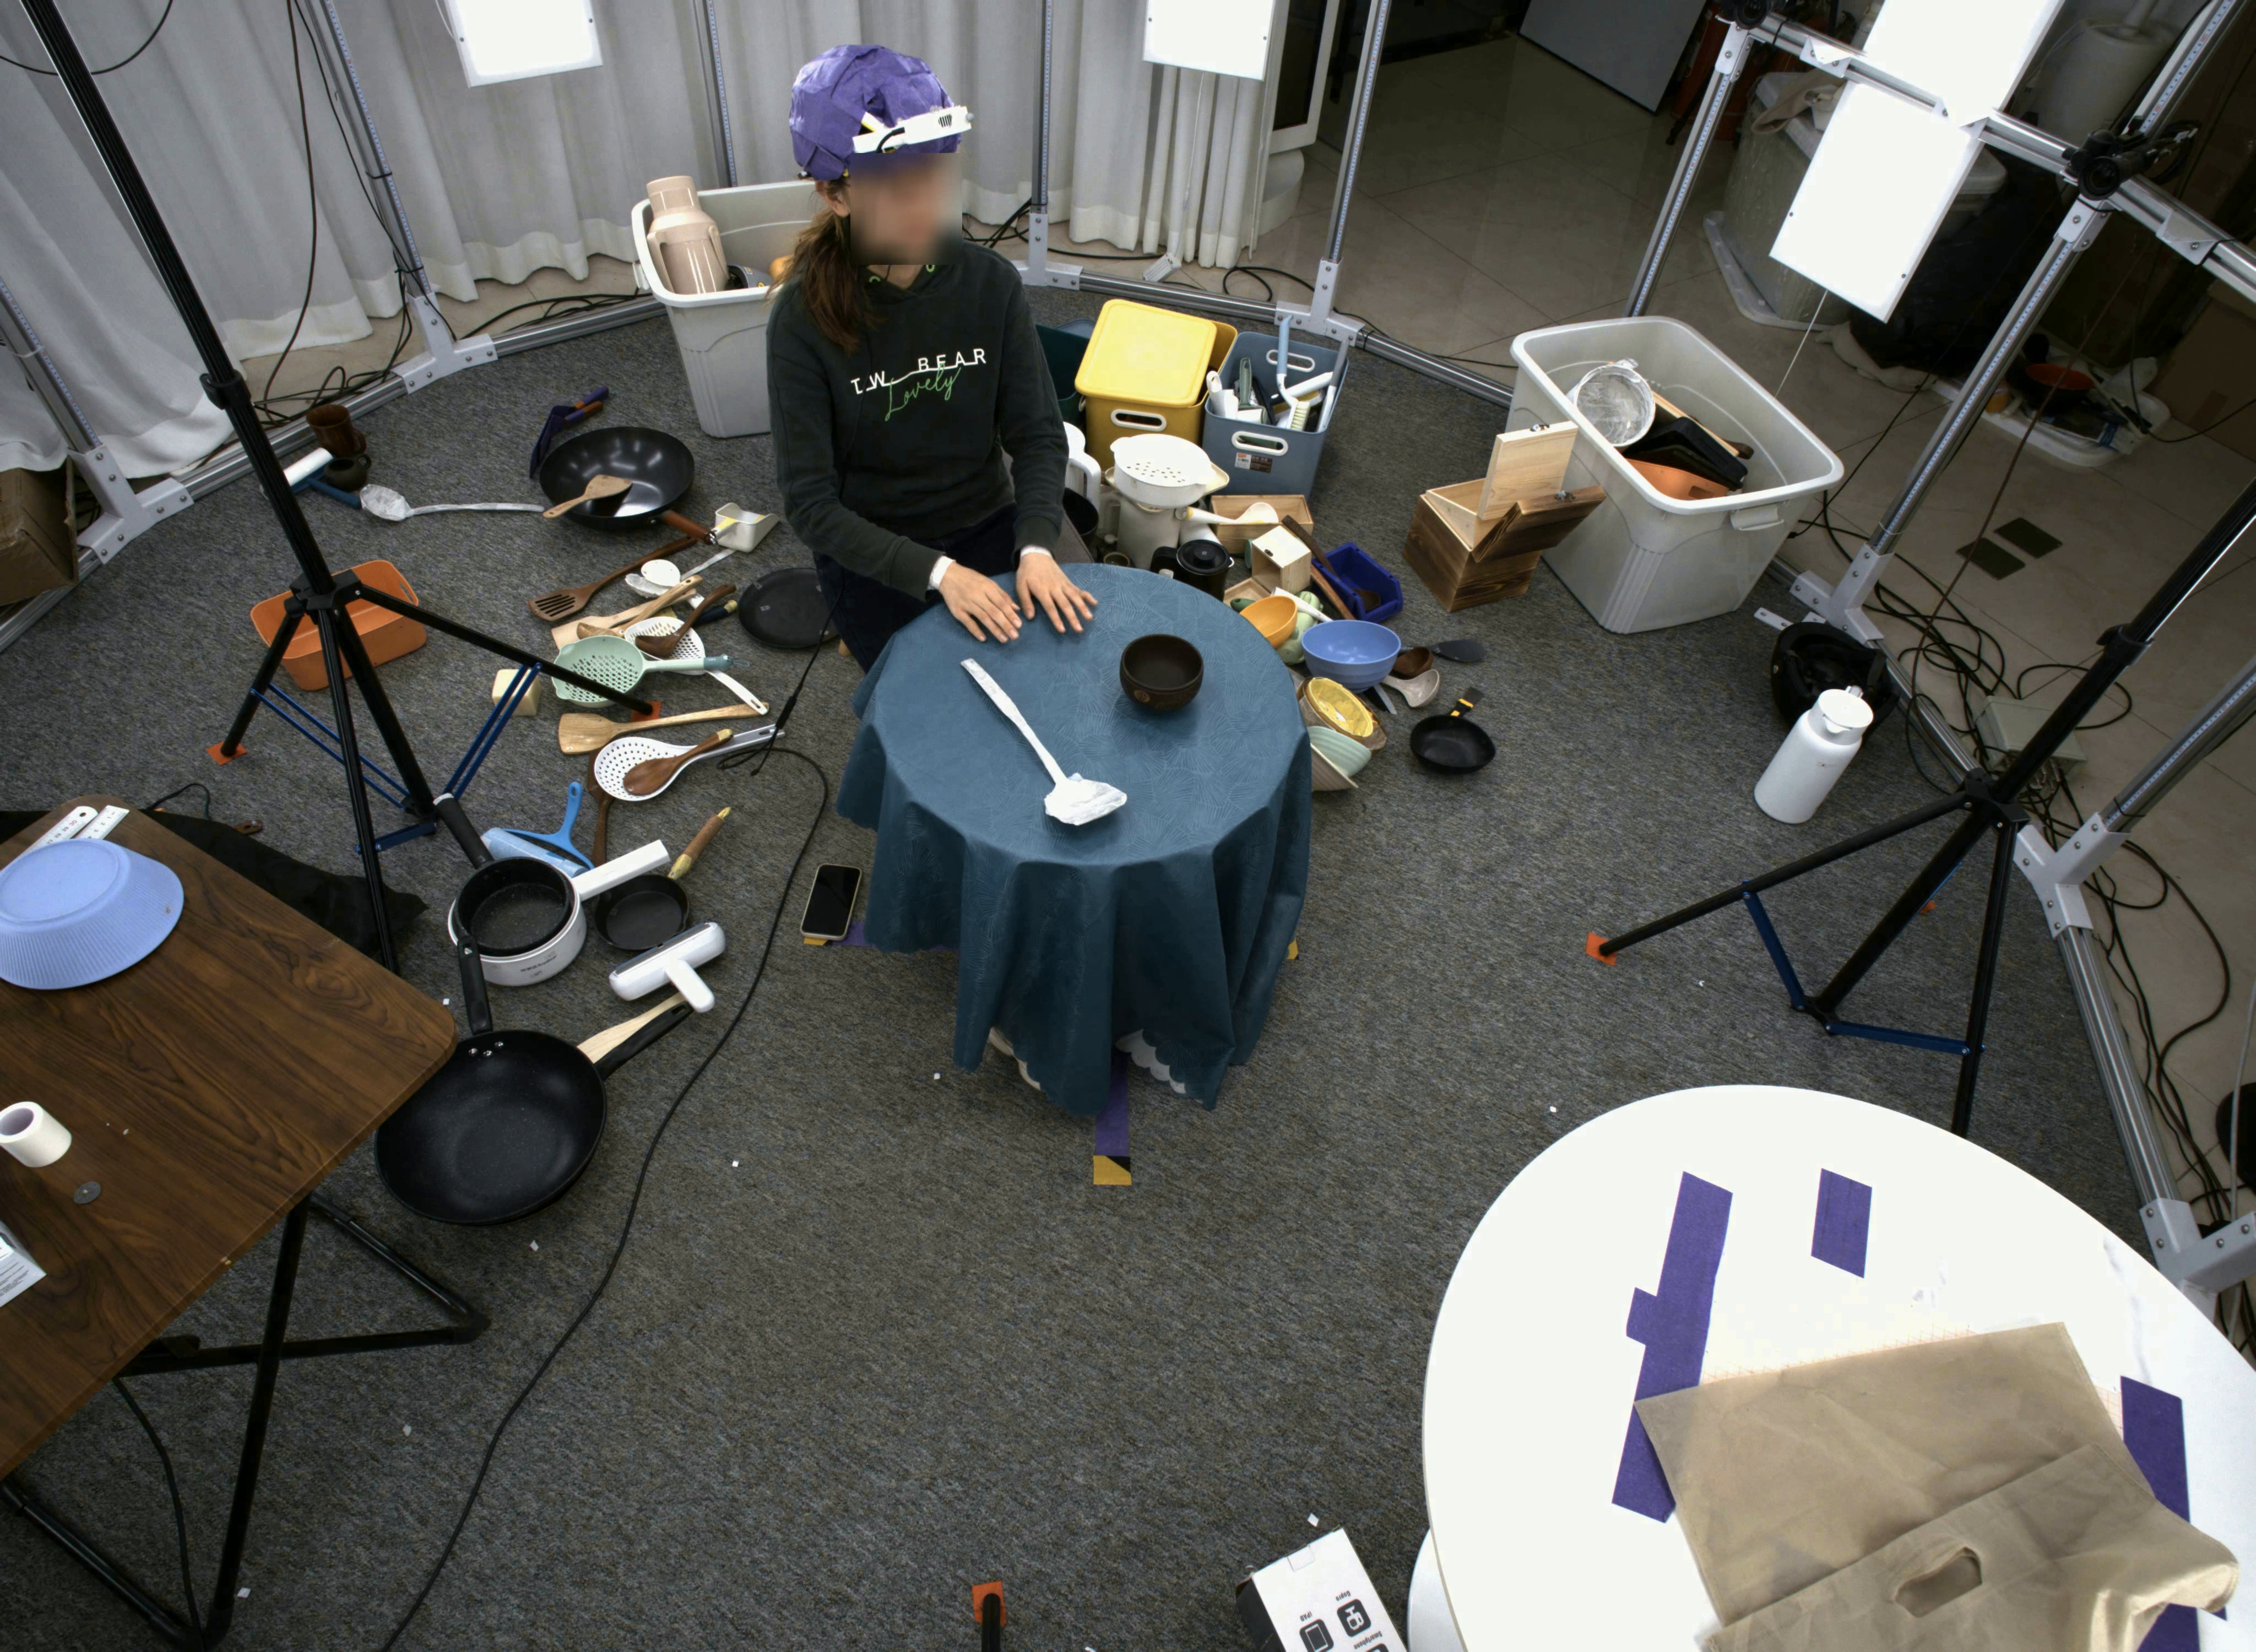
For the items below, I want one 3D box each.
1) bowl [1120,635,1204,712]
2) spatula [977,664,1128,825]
[{"bbox_3d":[0.046,-0.208,1.822,0.118,0.068,0.121,3,47,-3],"label":"bowl"},{"bbox_3d":[-0.126,-0.123,1.757,0.099,0.043,0.372,-23,54,-20],"label":"spatula"}]
